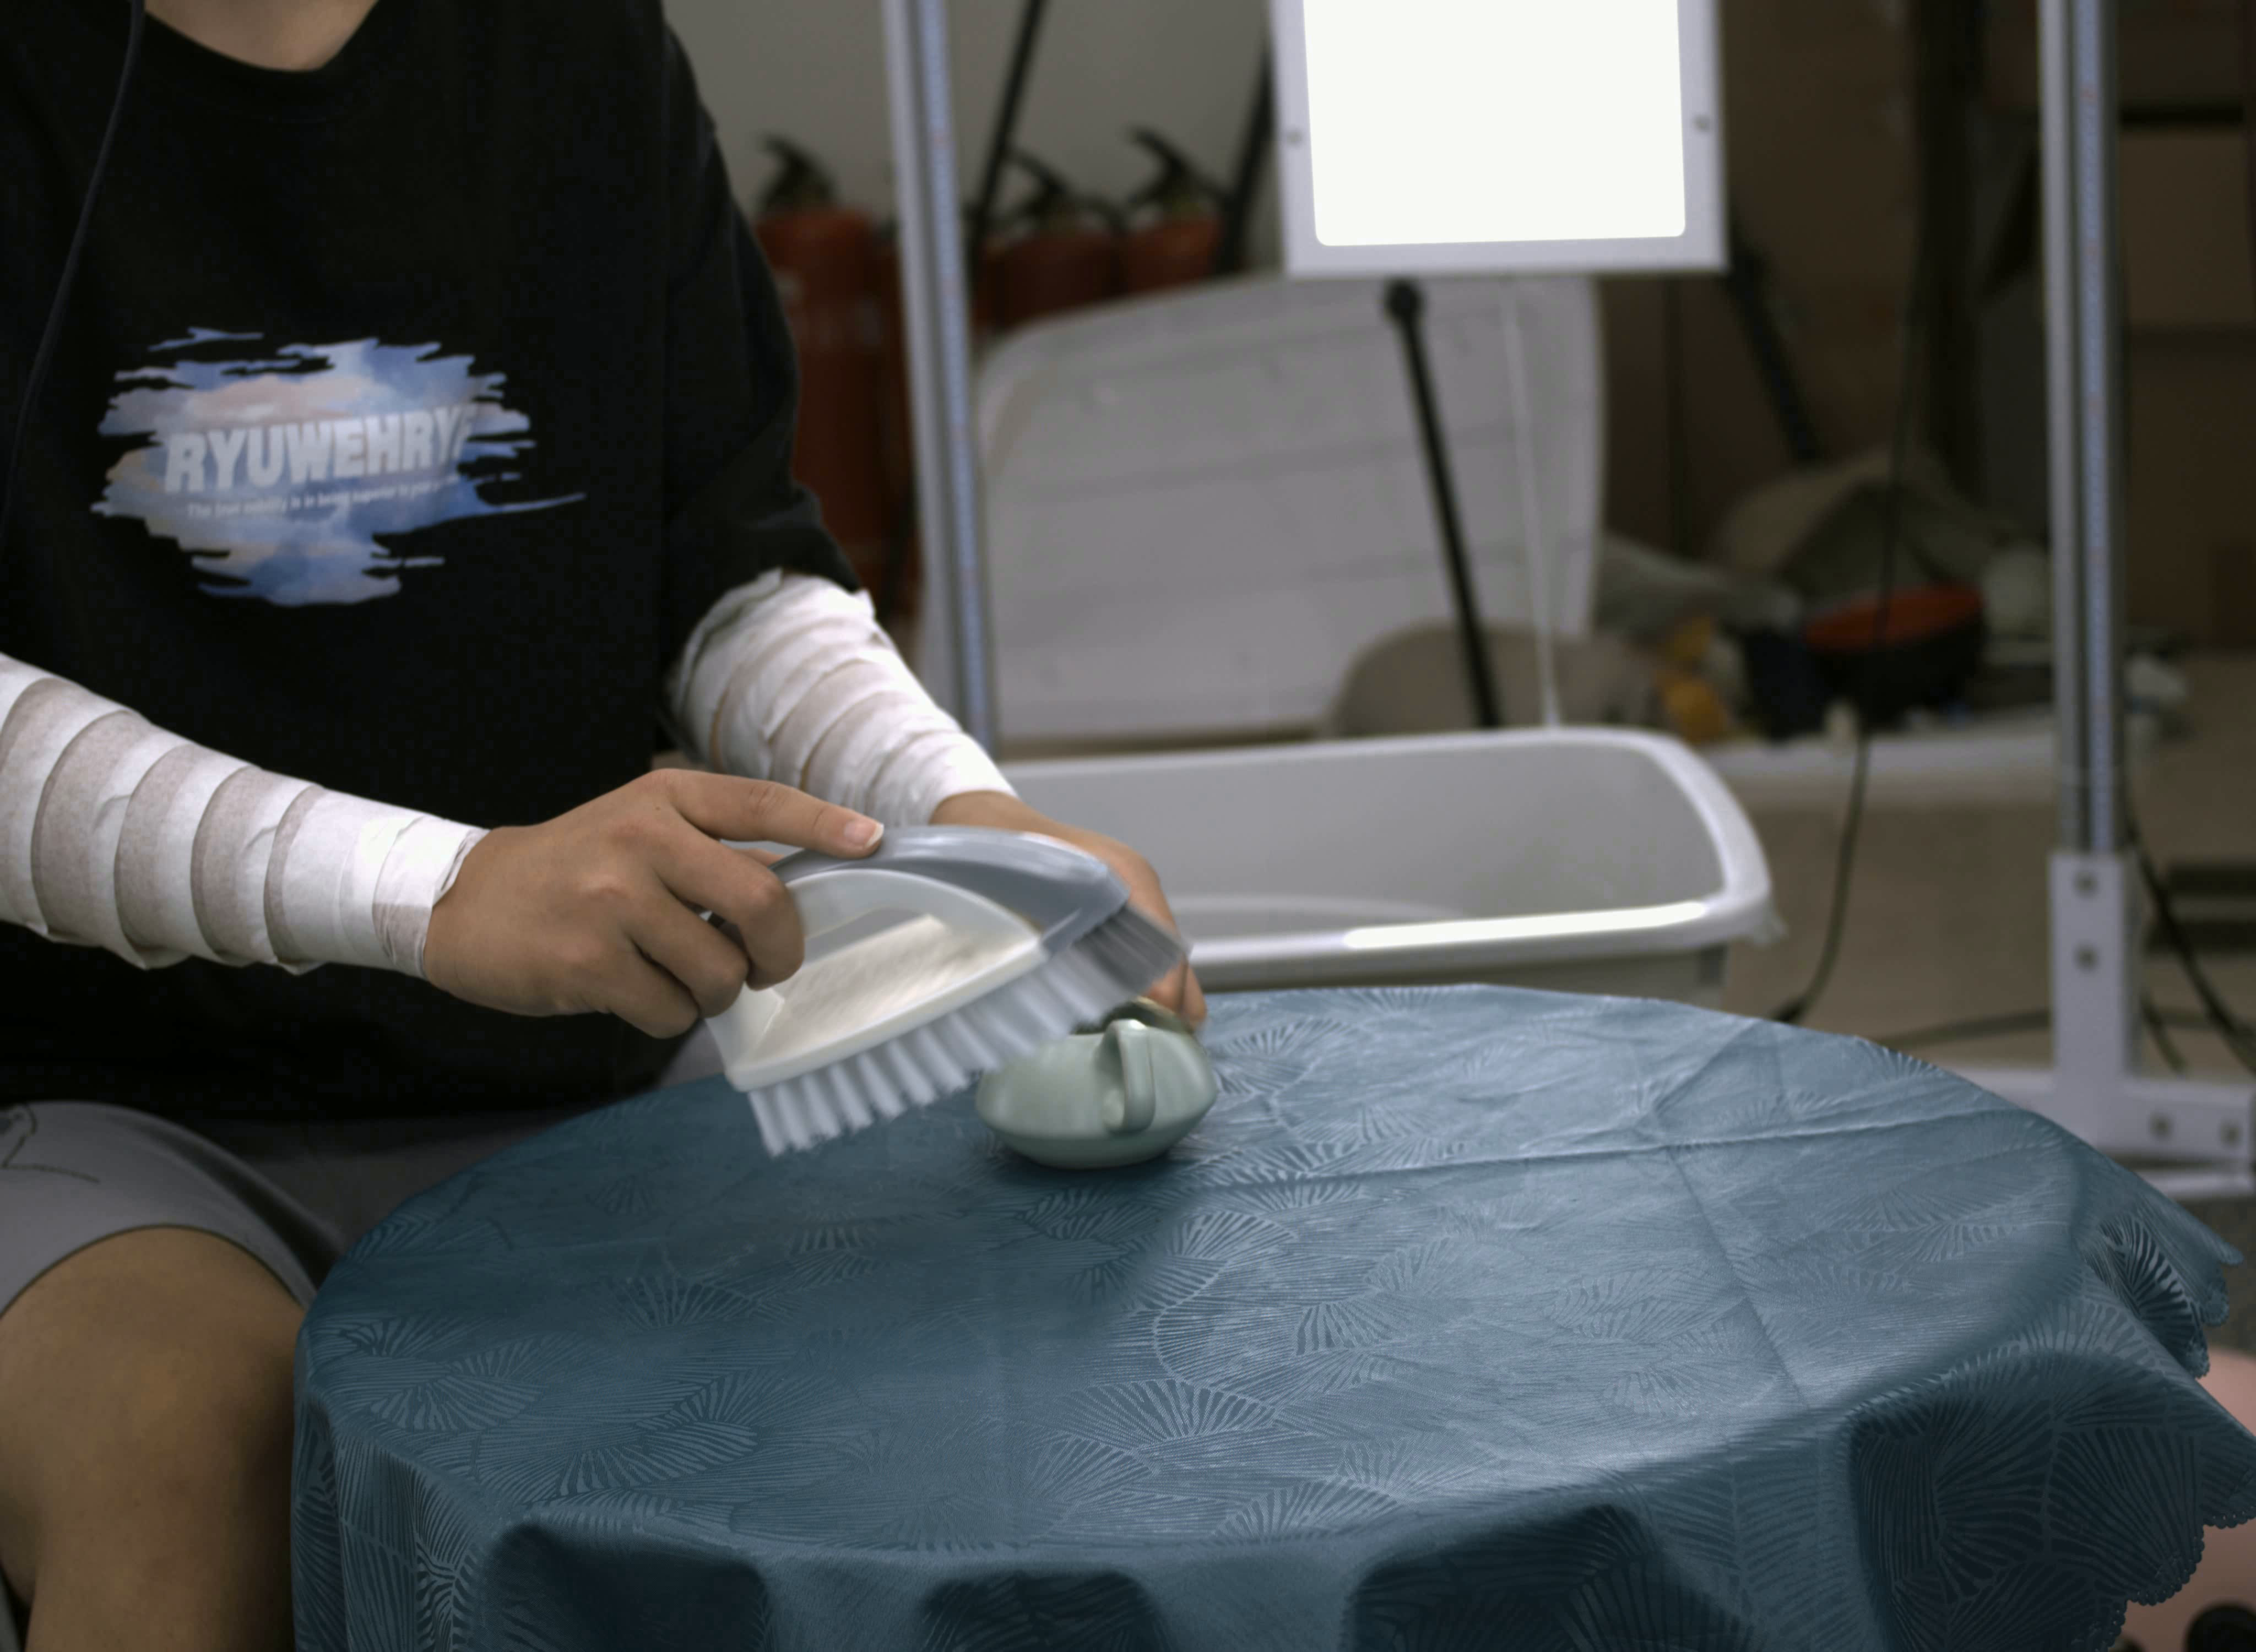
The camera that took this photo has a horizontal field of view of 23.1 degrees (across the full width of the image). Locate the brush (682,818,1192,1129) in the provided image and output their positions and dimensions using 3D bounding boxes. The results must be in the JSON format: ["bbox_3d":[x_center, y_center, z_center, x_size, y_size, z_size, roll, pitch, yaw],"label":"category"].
[{"bbox_3d":[-0.071,0.034,1.828,0.179,0.093,0.061,-20,34,32],"label":"brush"}]

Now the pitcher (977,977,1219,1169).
[{"bbox_3d":[-0.007,0.089,1.935,0.085,0.060,0.109,-9,16,-15],"label":"pitcher"}]
